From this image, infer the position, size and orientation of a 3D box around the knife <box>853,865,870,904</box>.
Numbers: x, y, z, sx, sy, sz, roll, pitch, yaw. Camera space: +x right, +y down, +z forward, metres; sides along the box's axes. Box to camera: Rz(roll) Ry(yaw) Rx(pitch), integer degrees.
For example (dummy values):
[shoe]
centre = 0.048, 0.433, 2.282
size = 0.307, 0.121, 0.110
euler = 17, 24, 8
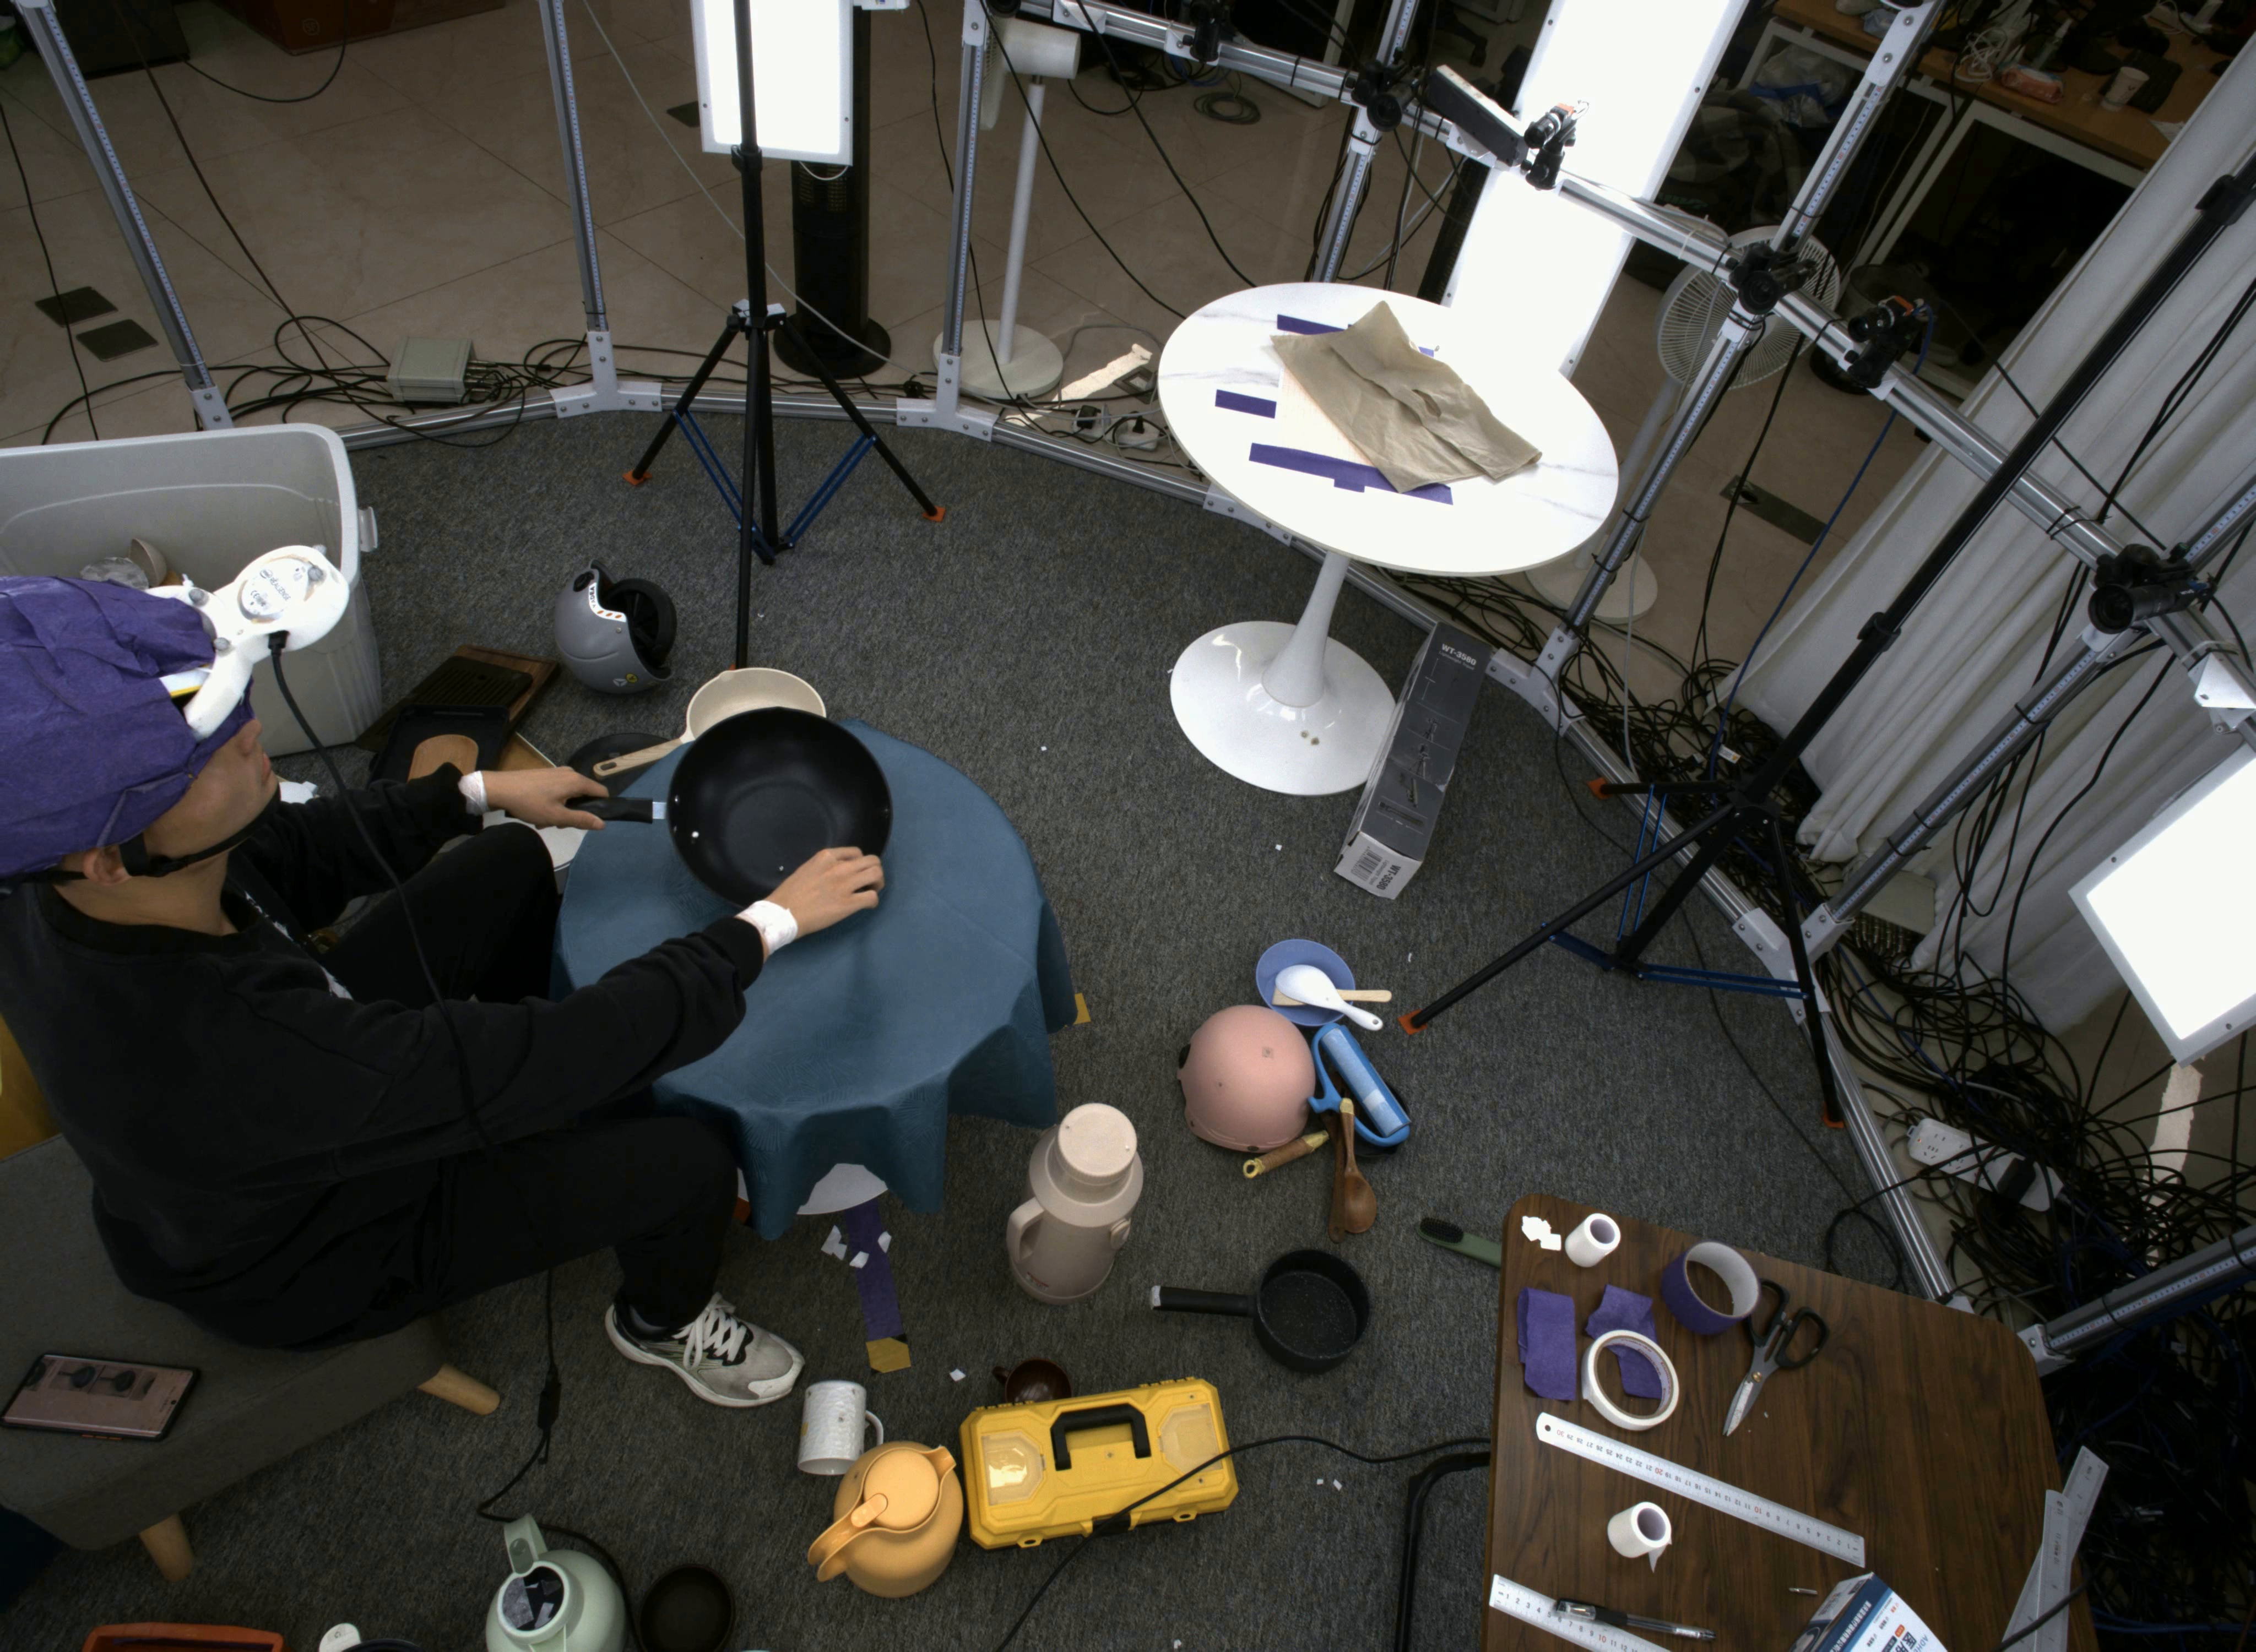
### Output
[knife]
centre = -0.322, 0.063, 1.567
size = 0.017, 0.221, 0.026
euler = 23, 93, -14

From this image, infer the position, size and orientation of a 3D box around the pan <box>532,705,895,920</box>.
[pan]
centre = -0.527, -0.008, 1.616
size = 0.466, 0.087, 0.285
euler = 0, 69, -20
